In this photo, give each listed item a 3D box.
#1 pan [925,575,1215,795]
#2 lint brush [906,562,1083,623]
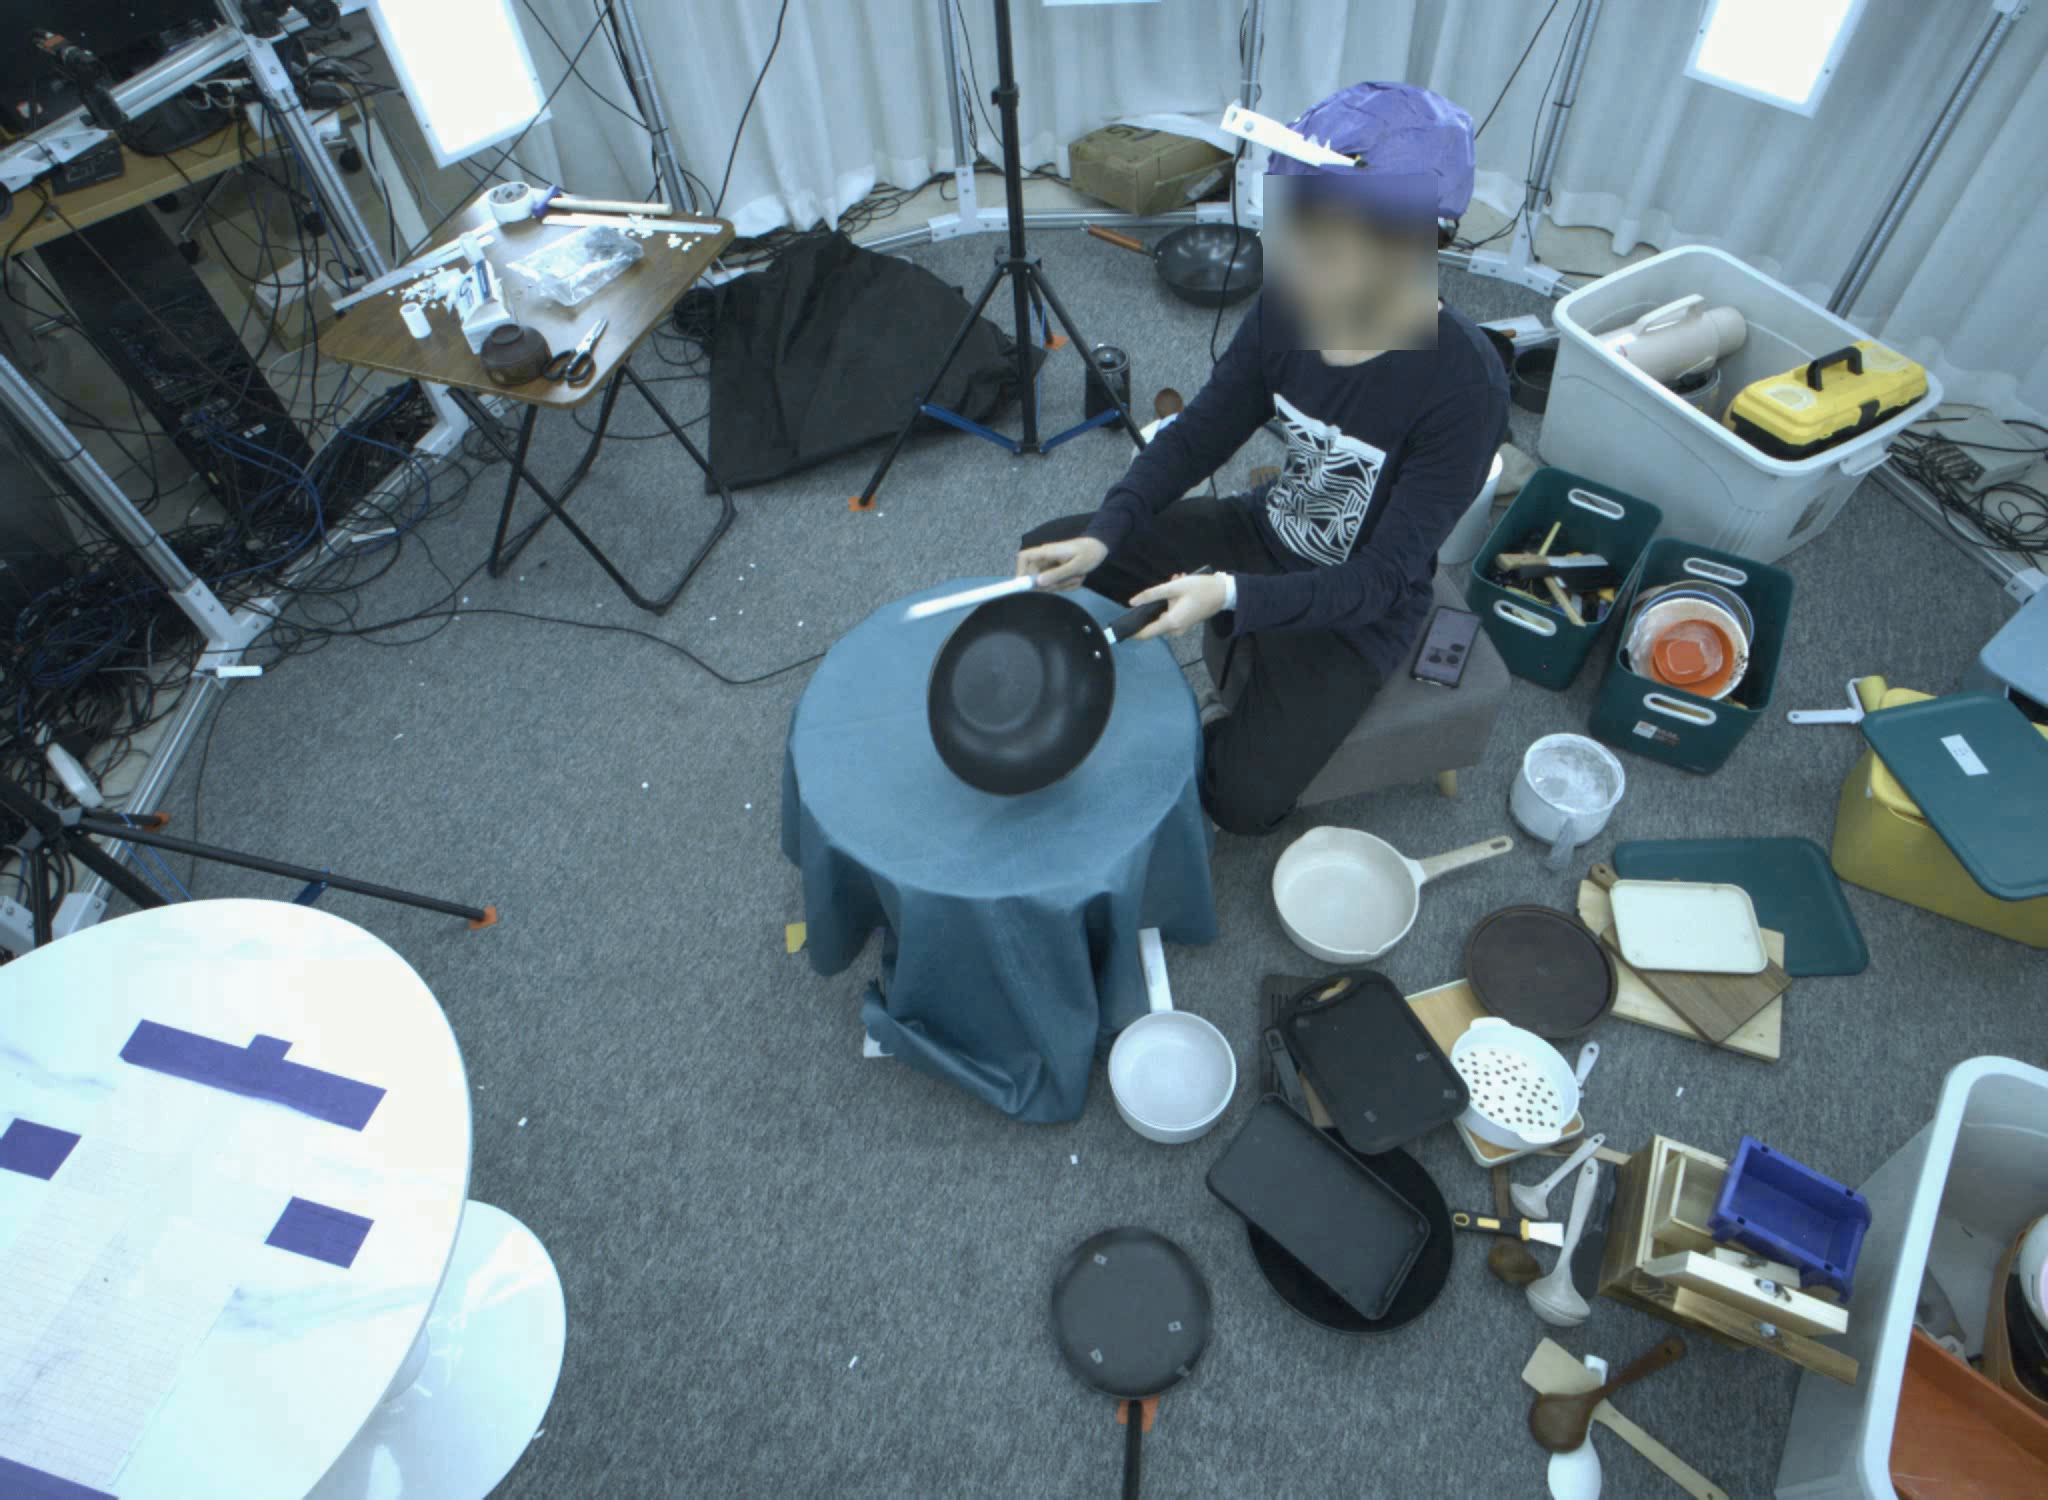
[{"bbox_3d":[0.057,-0.132,1.670,0.466,0.293,0.085,-33,33,-16],"label":"pan"},{"bbox_3d":[-0.035,-0.224,1.726,0.313,0.059,0.021,-22,97,-35],"label":"lint brush"}]
